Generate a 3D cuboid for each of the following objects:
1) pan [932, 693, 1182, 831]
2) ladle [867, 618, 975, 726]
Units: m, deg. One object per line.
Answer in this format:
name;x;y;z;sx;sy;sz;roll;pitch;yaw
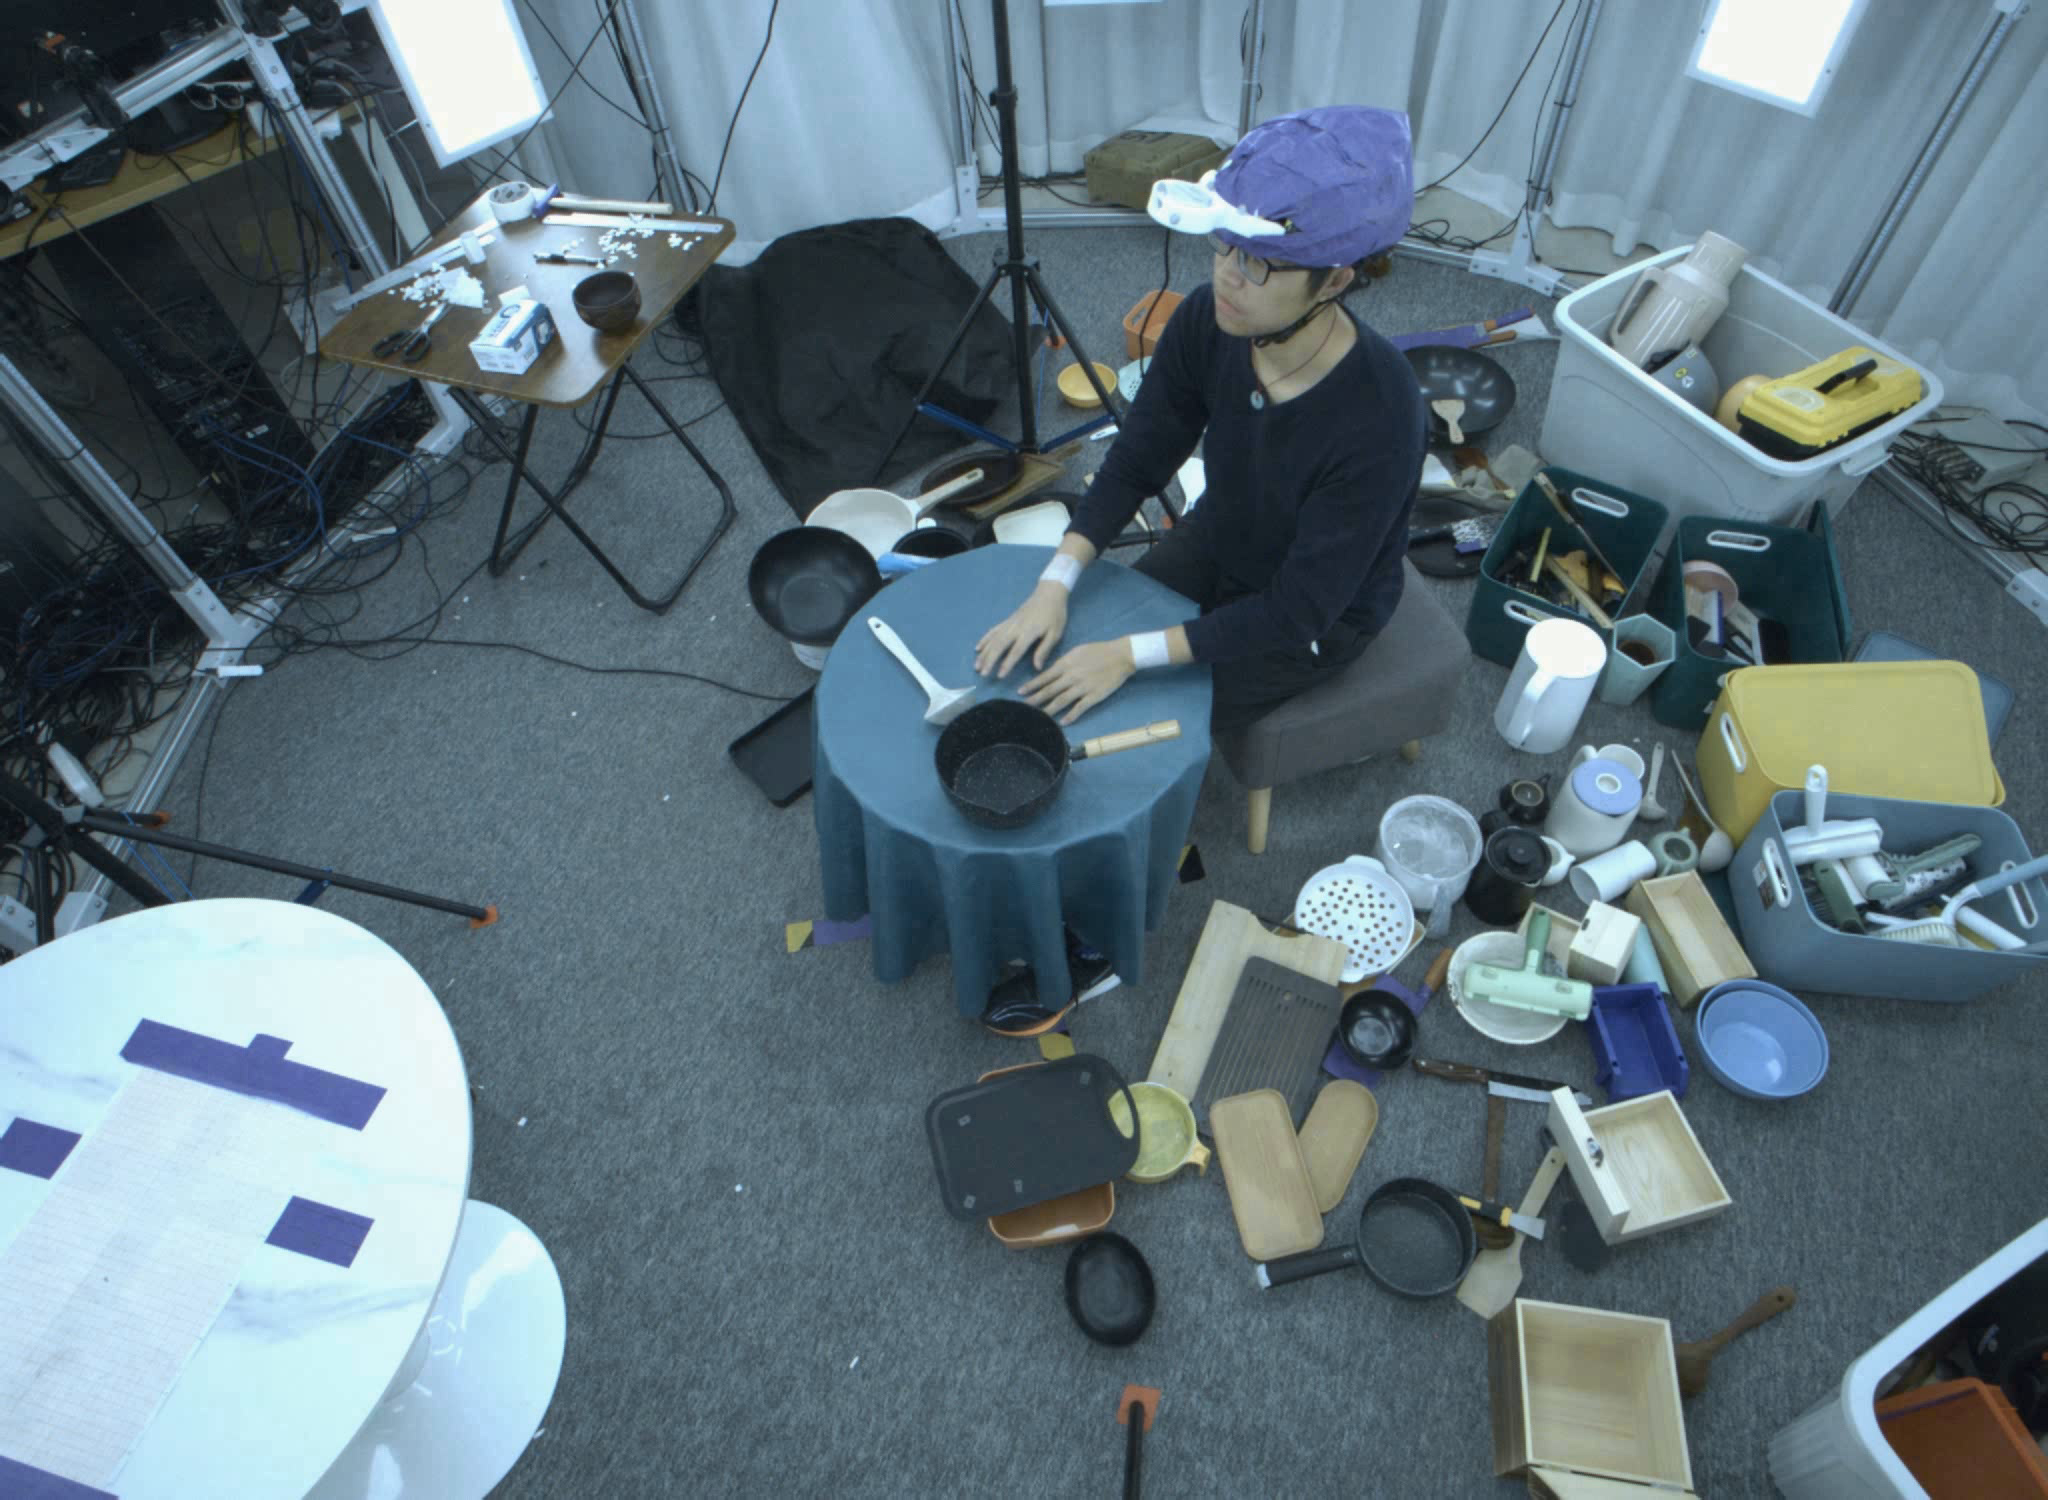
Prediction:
pan;0.048;0.011;1.711;0.343;0.109;0.204;-7;54;-1
ladle;-0.172;-0.137;1.849;0.089;0.070;0.269;-38;61;-9
